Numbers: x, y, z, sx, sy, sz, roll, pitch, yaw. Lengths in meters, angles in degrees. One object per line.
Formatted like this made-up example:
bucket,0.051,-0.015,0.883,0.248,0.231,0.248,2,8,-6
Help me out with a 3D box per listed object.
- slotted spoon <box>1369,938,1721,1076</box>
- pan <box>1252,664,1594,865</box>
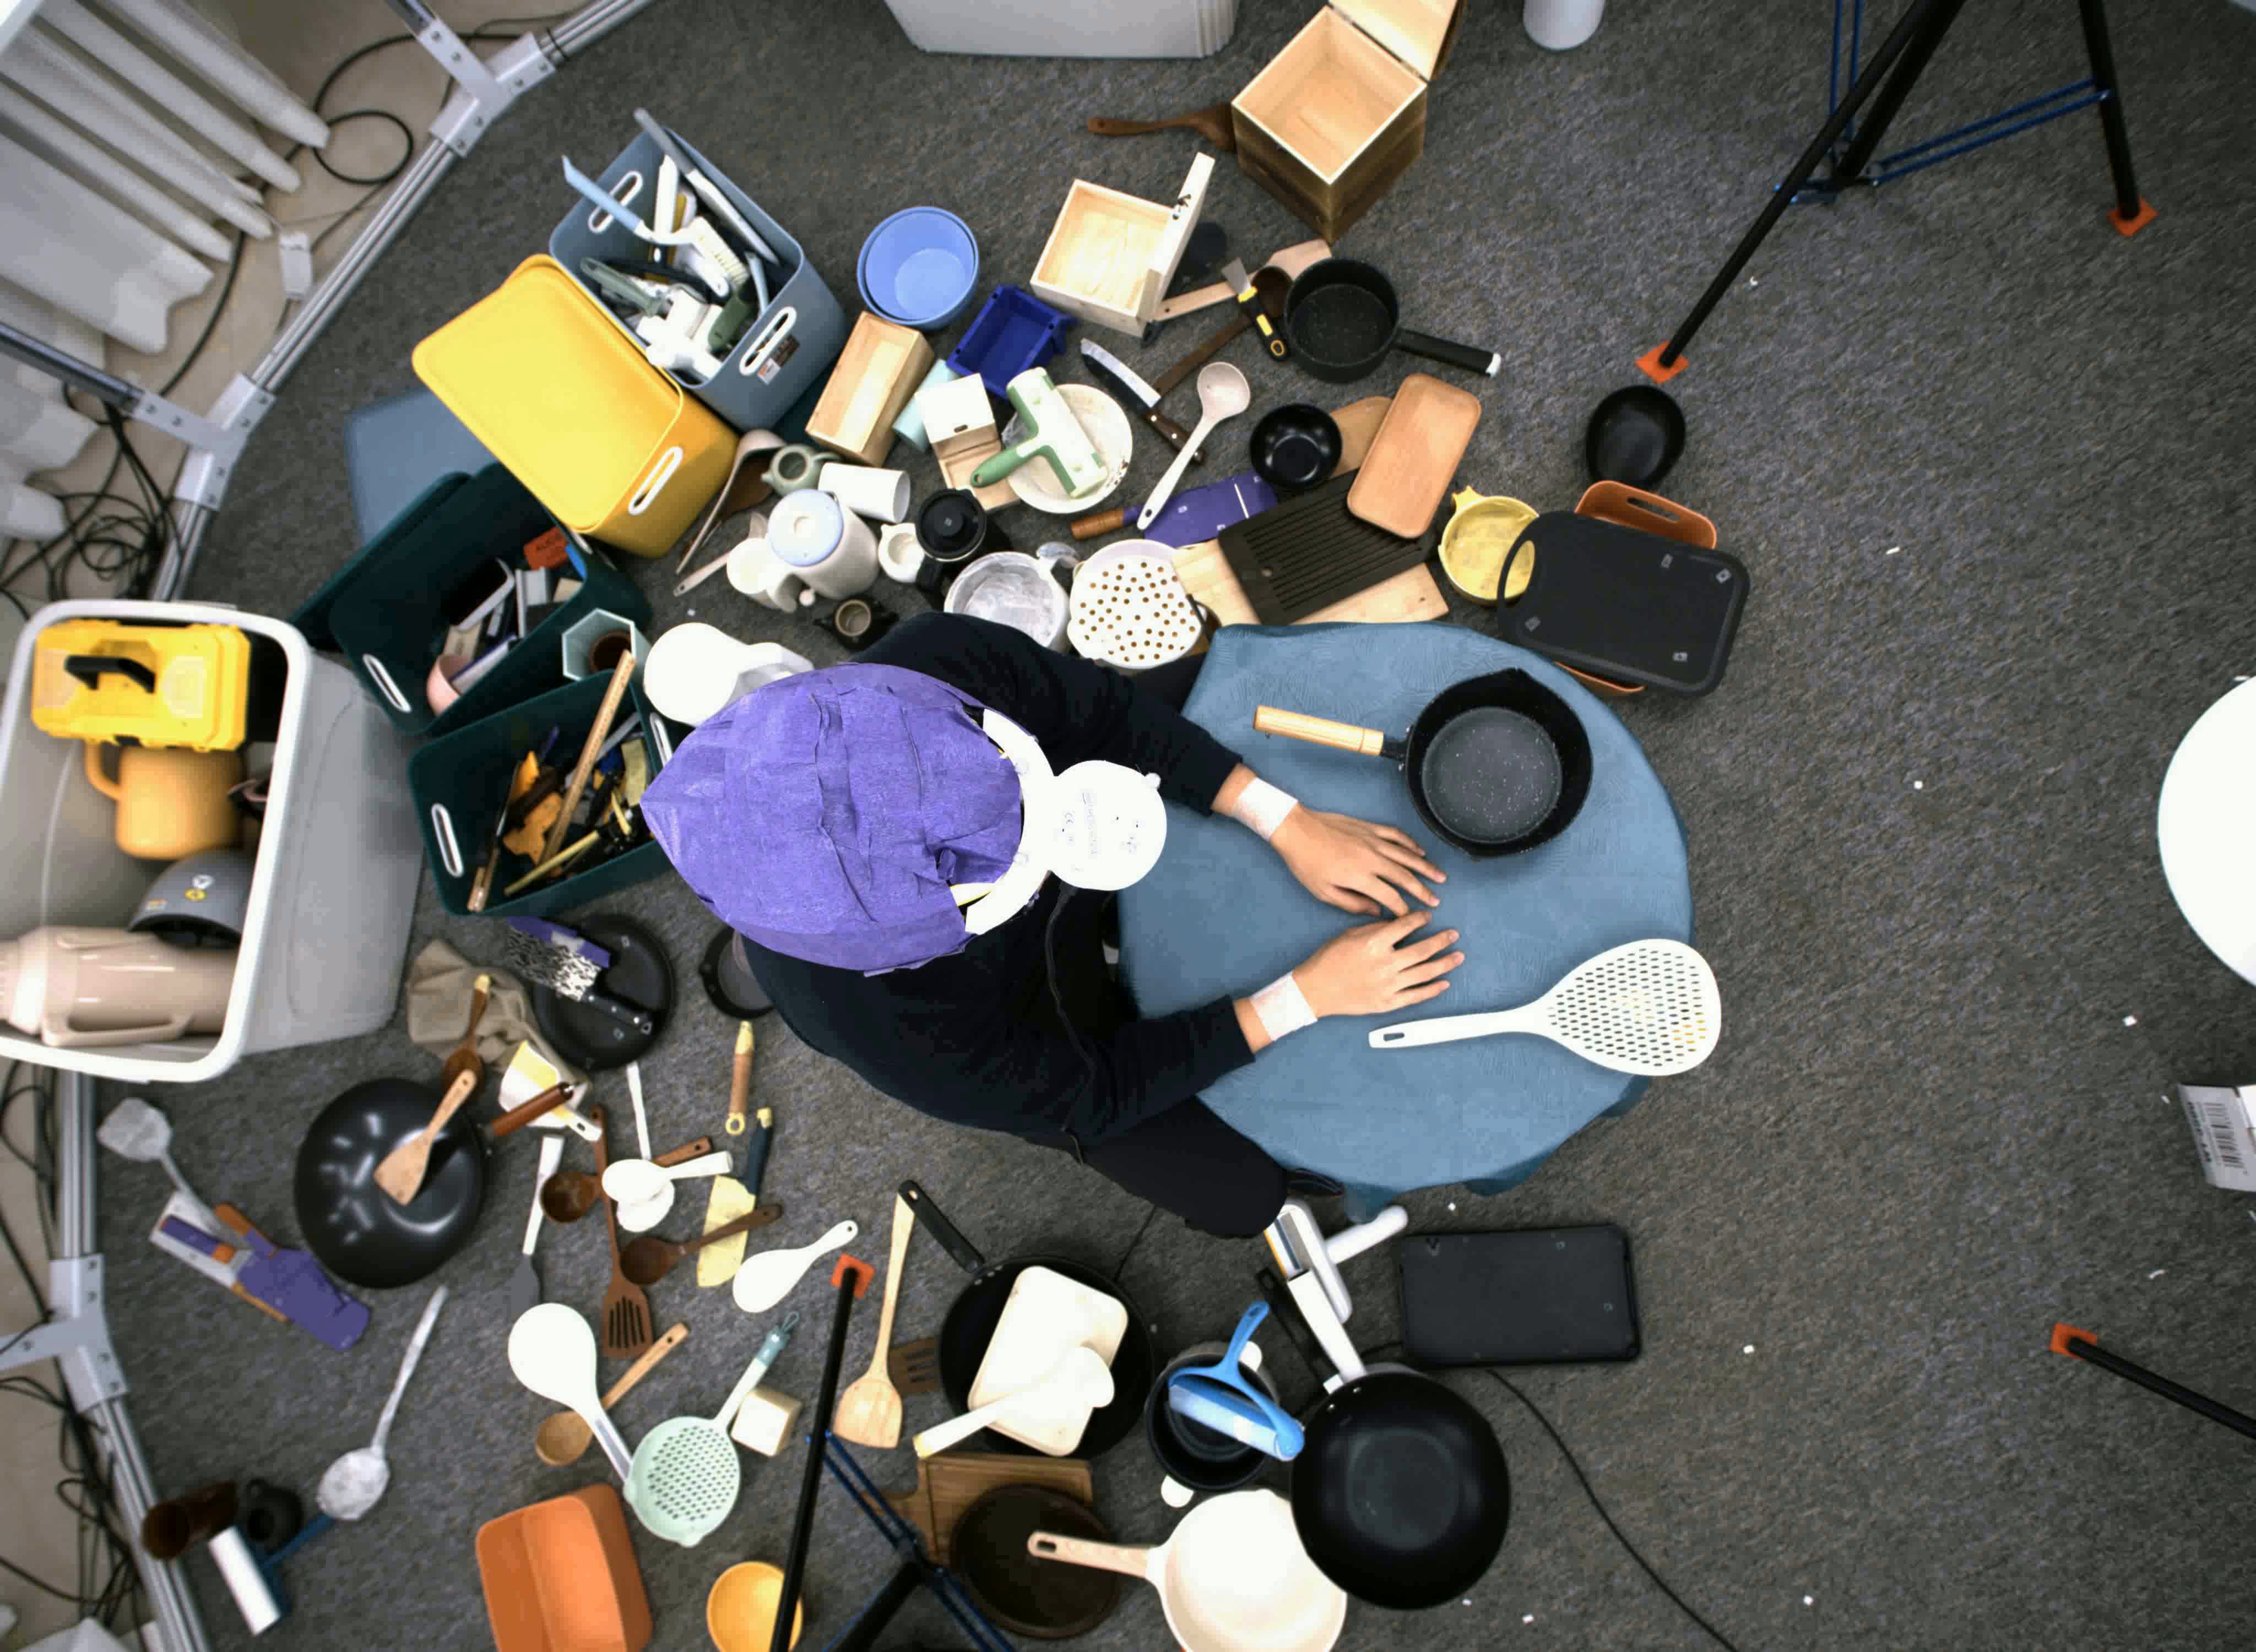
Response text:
slotted spoon,0.420,0.196,1.403,0.349,0.050,0.136,-9,86,8
pan,0.297,-0.074,1.408,0.343,0.108,0.207,10,89,10
